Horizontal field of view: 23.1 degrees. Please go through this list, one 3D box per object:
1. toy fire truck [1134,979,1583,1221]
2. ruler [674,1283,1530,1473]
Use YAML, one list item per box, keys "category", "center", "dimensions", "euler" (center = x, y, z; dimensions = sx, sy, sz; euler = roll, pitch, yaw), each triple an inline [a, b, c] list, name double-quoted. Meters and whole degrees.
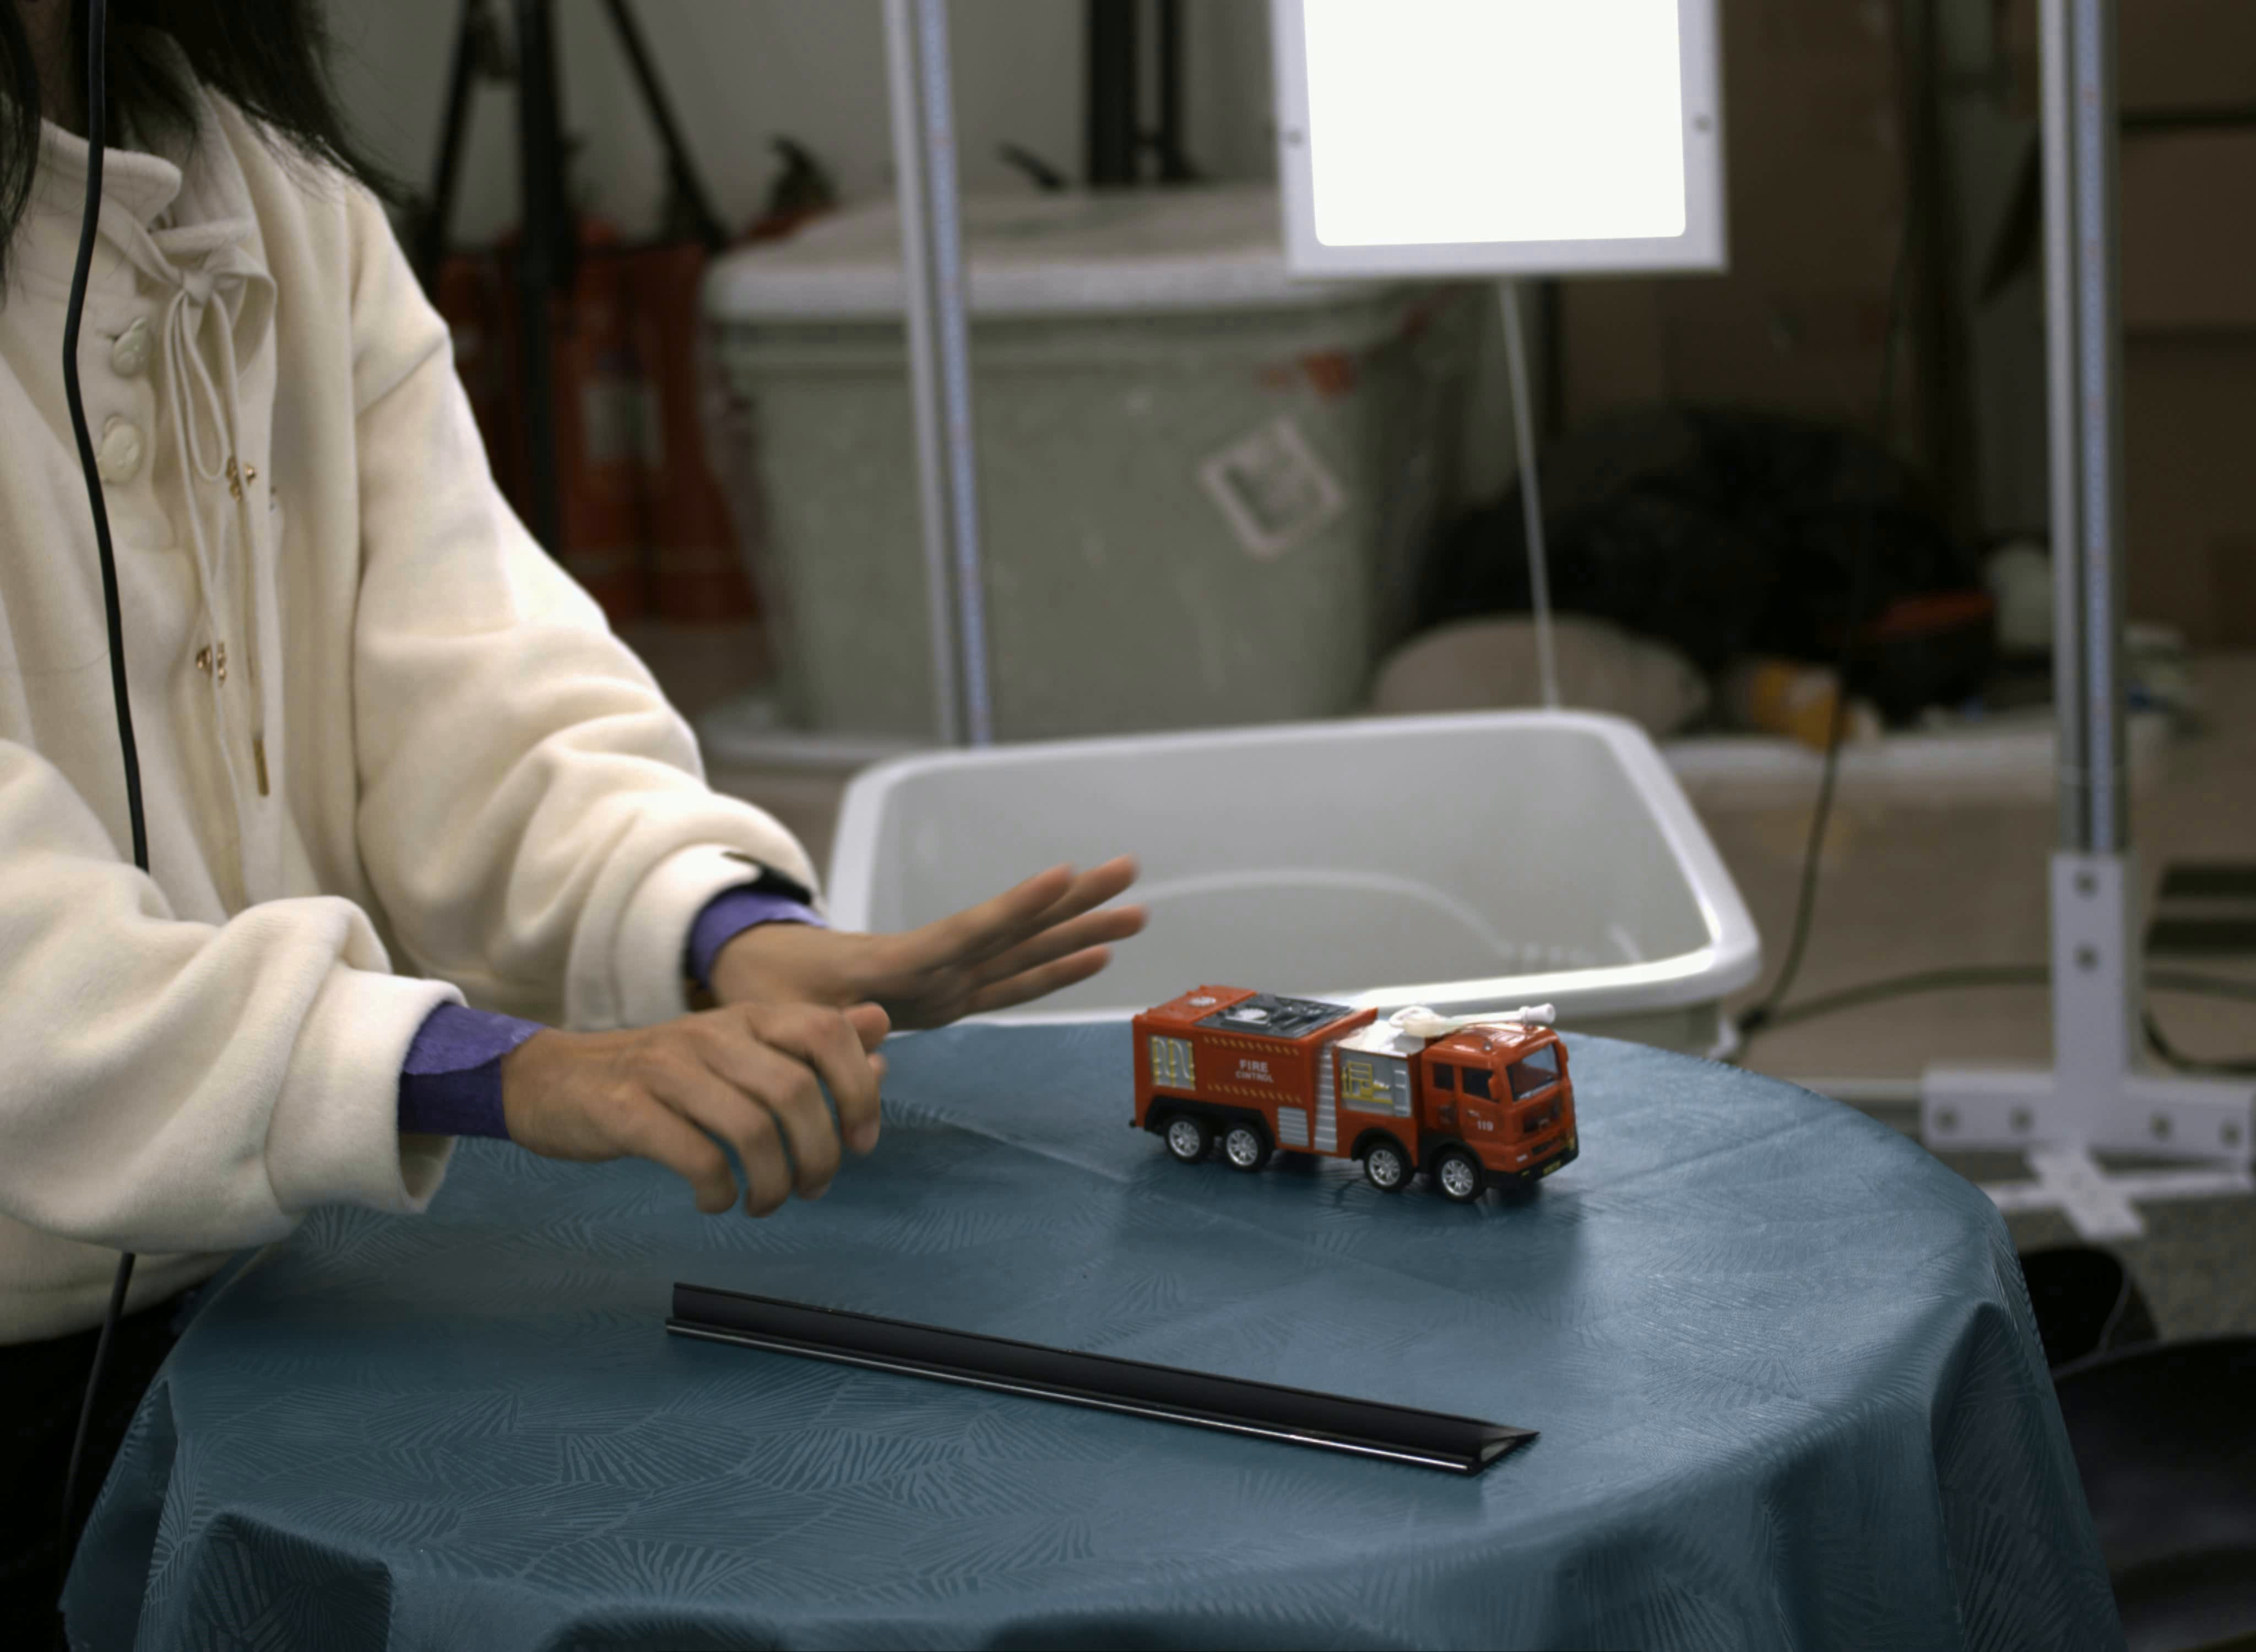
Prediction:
- category: "toy fire truck"
  center: [0.079, 0.090, 1.895]
  dimensions: [0.171, 0.070, 0.052]
  euler: [4, 17, 39]
- category: "ruler"
  center: [-0.014, 0.166, 1.710]
  dimensions: [0.319, 0.017, 0.038]
  euler: [5, 14, 38]
